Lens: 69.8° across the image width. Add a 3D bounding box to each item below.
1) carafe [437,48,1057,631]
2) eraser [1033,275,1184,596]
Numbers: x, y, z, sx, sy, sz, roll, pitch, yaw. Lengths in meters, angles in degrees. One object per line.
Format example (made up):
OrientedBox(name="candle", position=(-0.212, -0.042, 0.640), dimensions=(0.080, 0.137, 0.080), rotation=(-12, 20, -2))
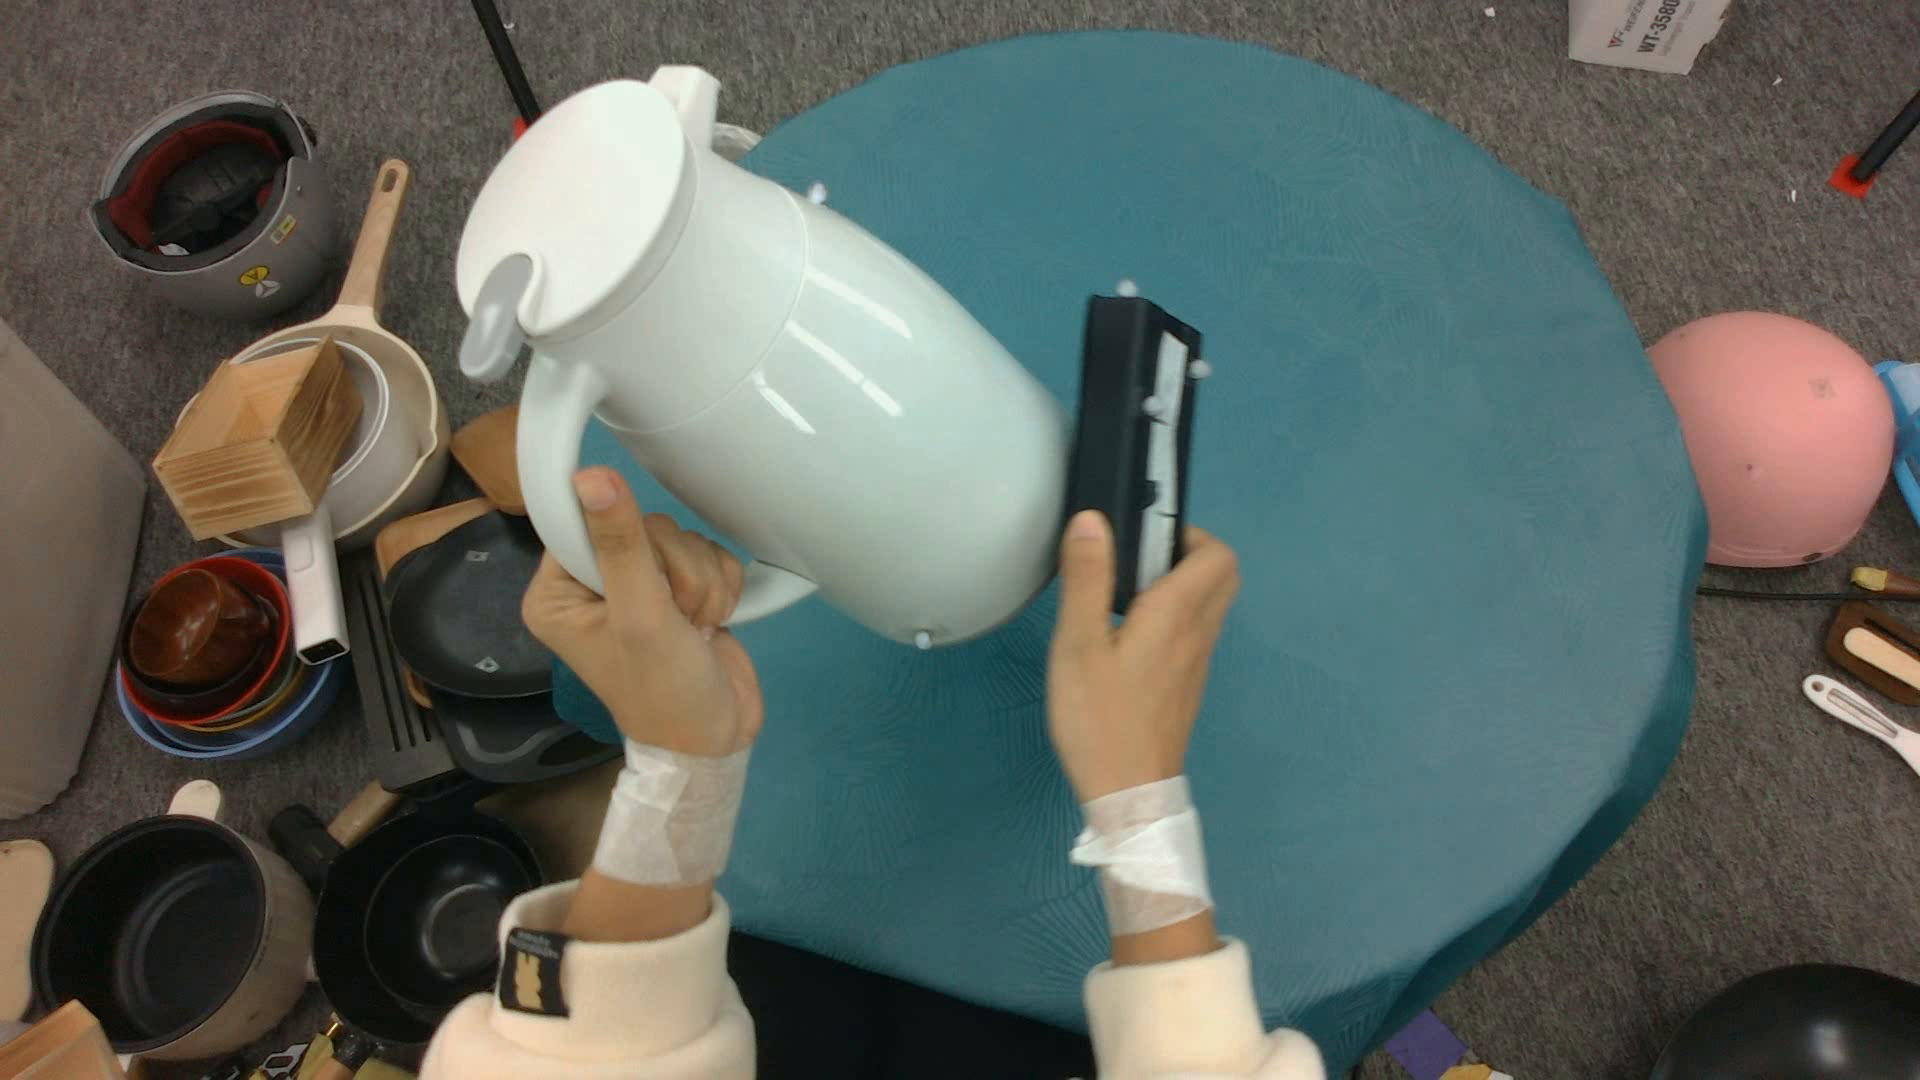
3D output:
OrientedBox(name="carafe", position=(-0.076, -0.048, 0.509), dimensions=(0.132, 0.248, 0.168), rotation=(13, 77, 35))
OrientedBox(name="eraser", position=(0.061, -0.042, 0.565), dimensions=(0.030, 0.053, 0.125), rotation=(1, 81, 41))
